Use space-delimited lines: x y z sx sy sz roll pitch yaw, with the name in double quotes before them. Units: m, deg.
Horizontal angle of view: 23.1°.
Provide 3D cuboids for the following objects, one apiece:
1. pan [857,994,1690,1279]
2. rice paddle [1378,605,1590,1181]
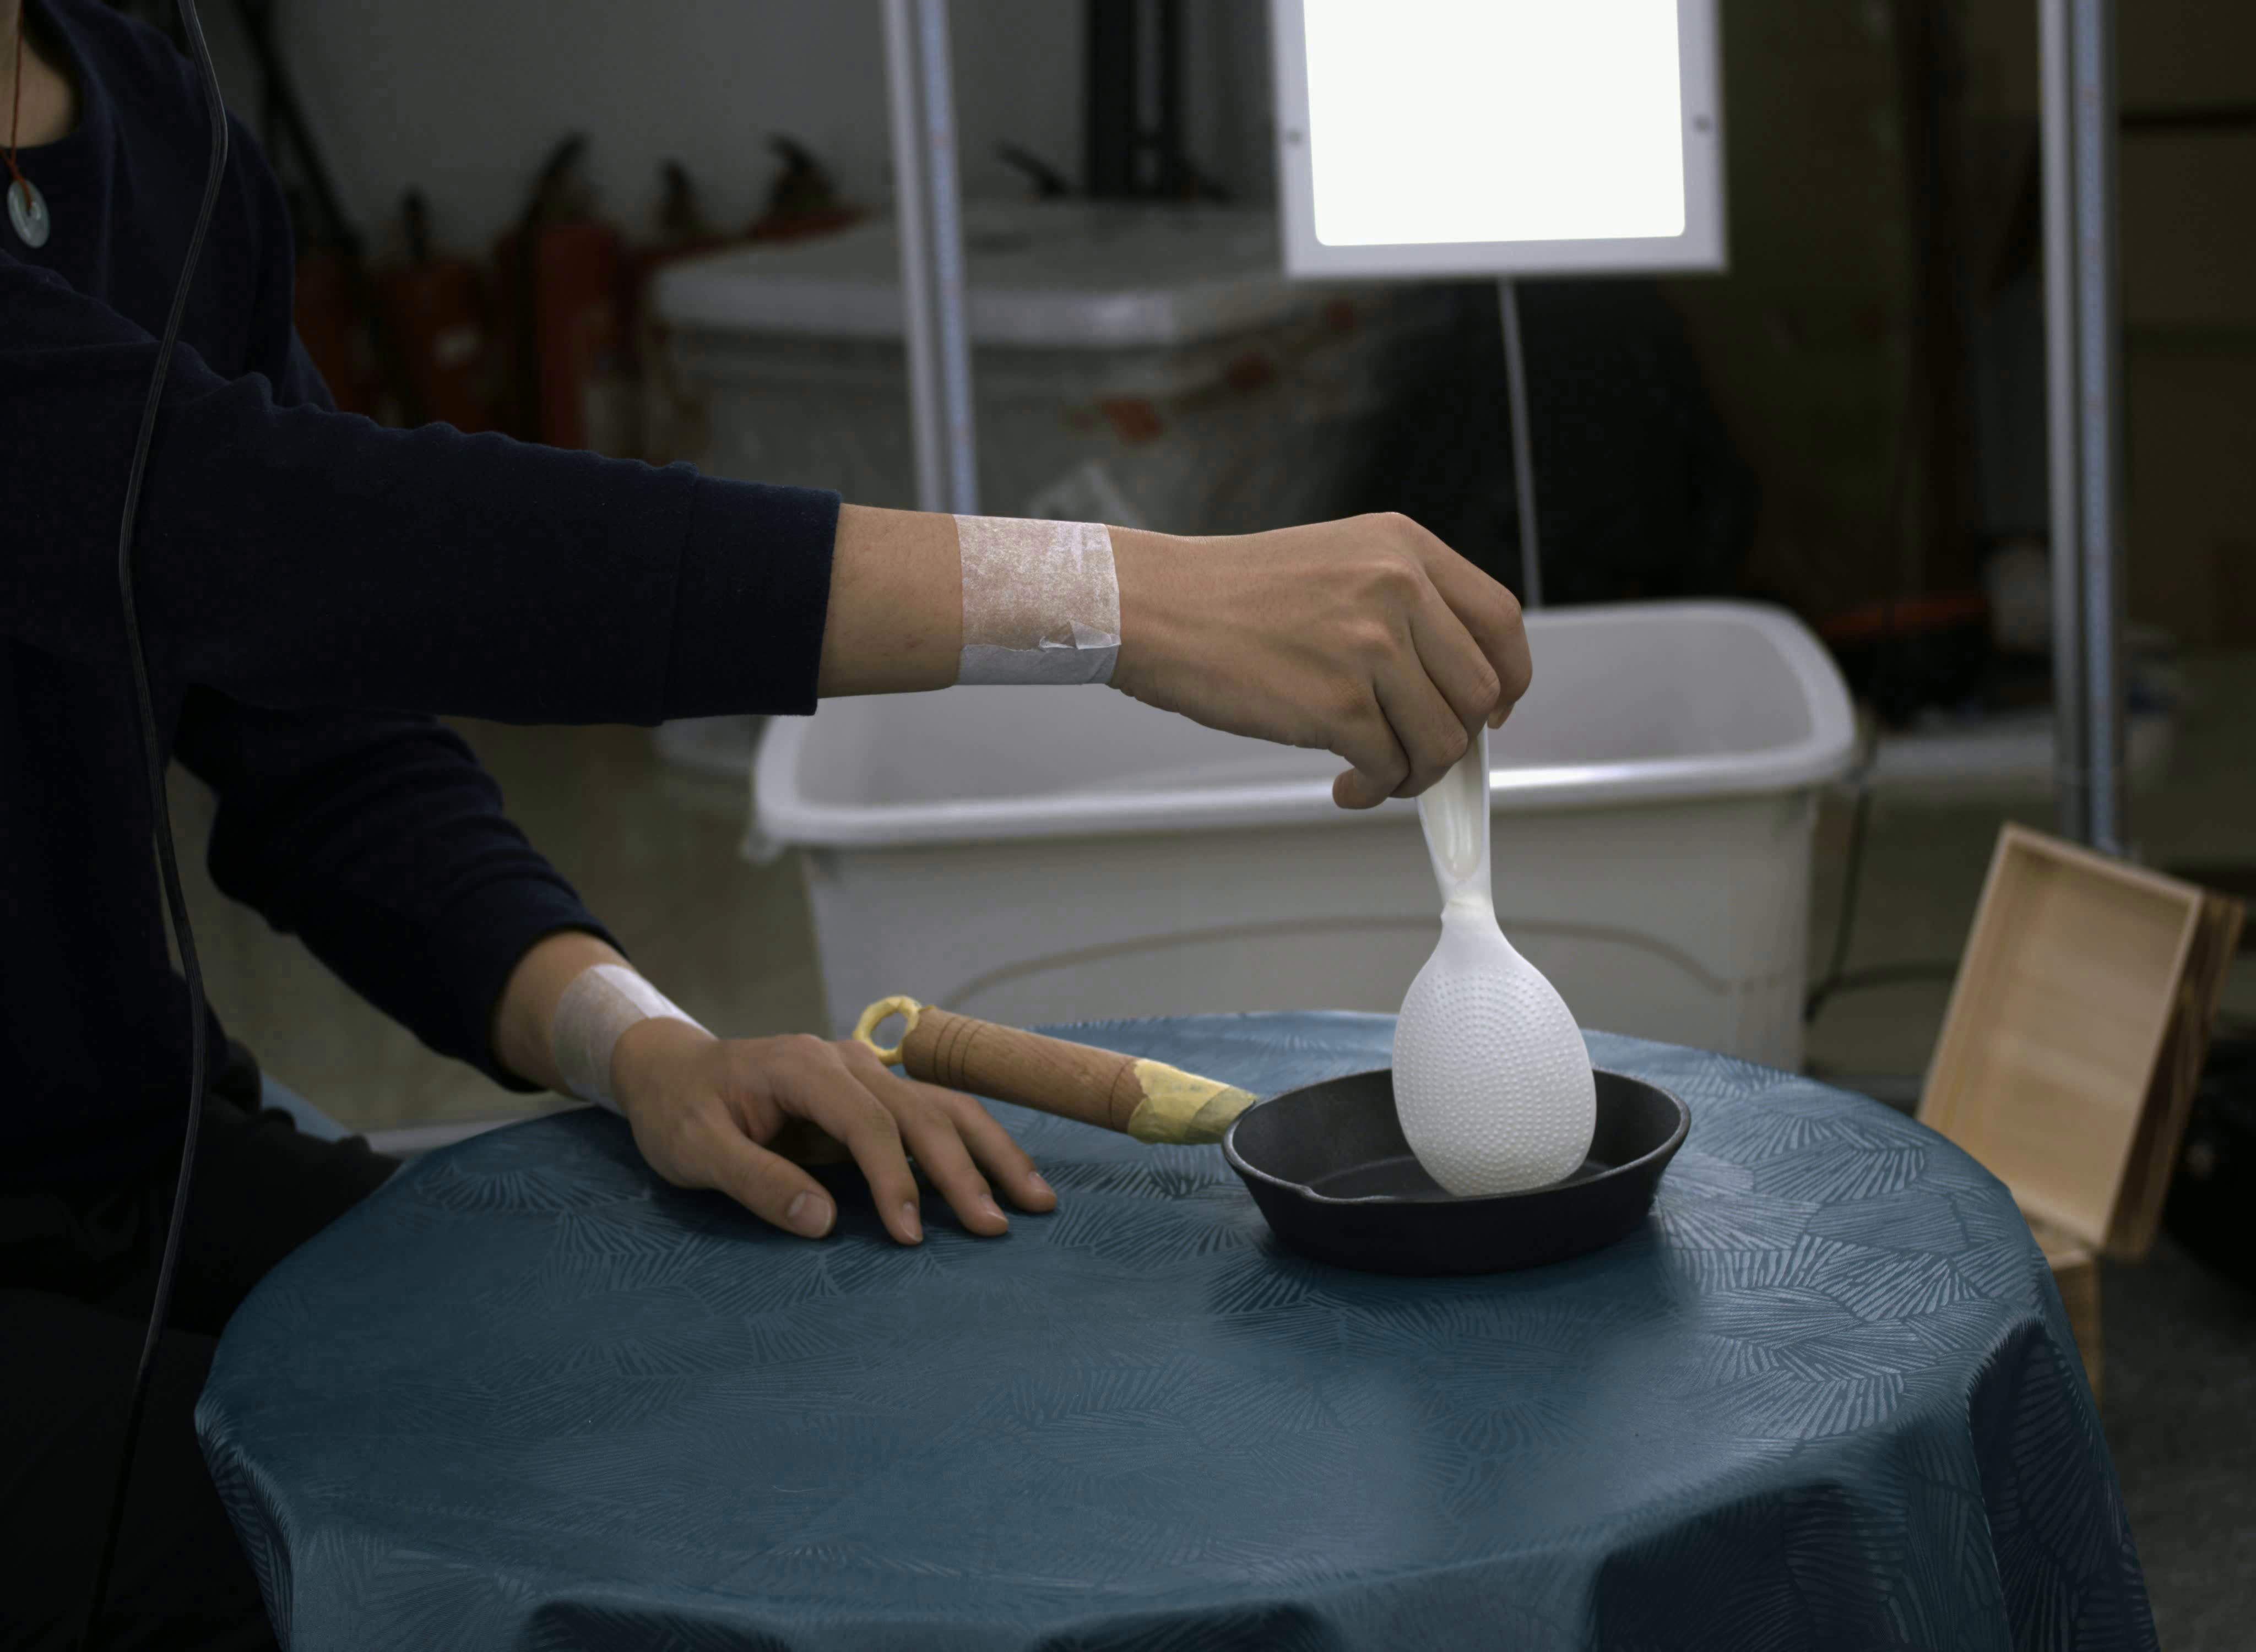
"pan" 0.041 0.100 1.884 0.331 0.050 0.165 7 18 36
"rice paddle" 0.111 0.029 1.803 0.070 0.206 0.029 -2 19 20
